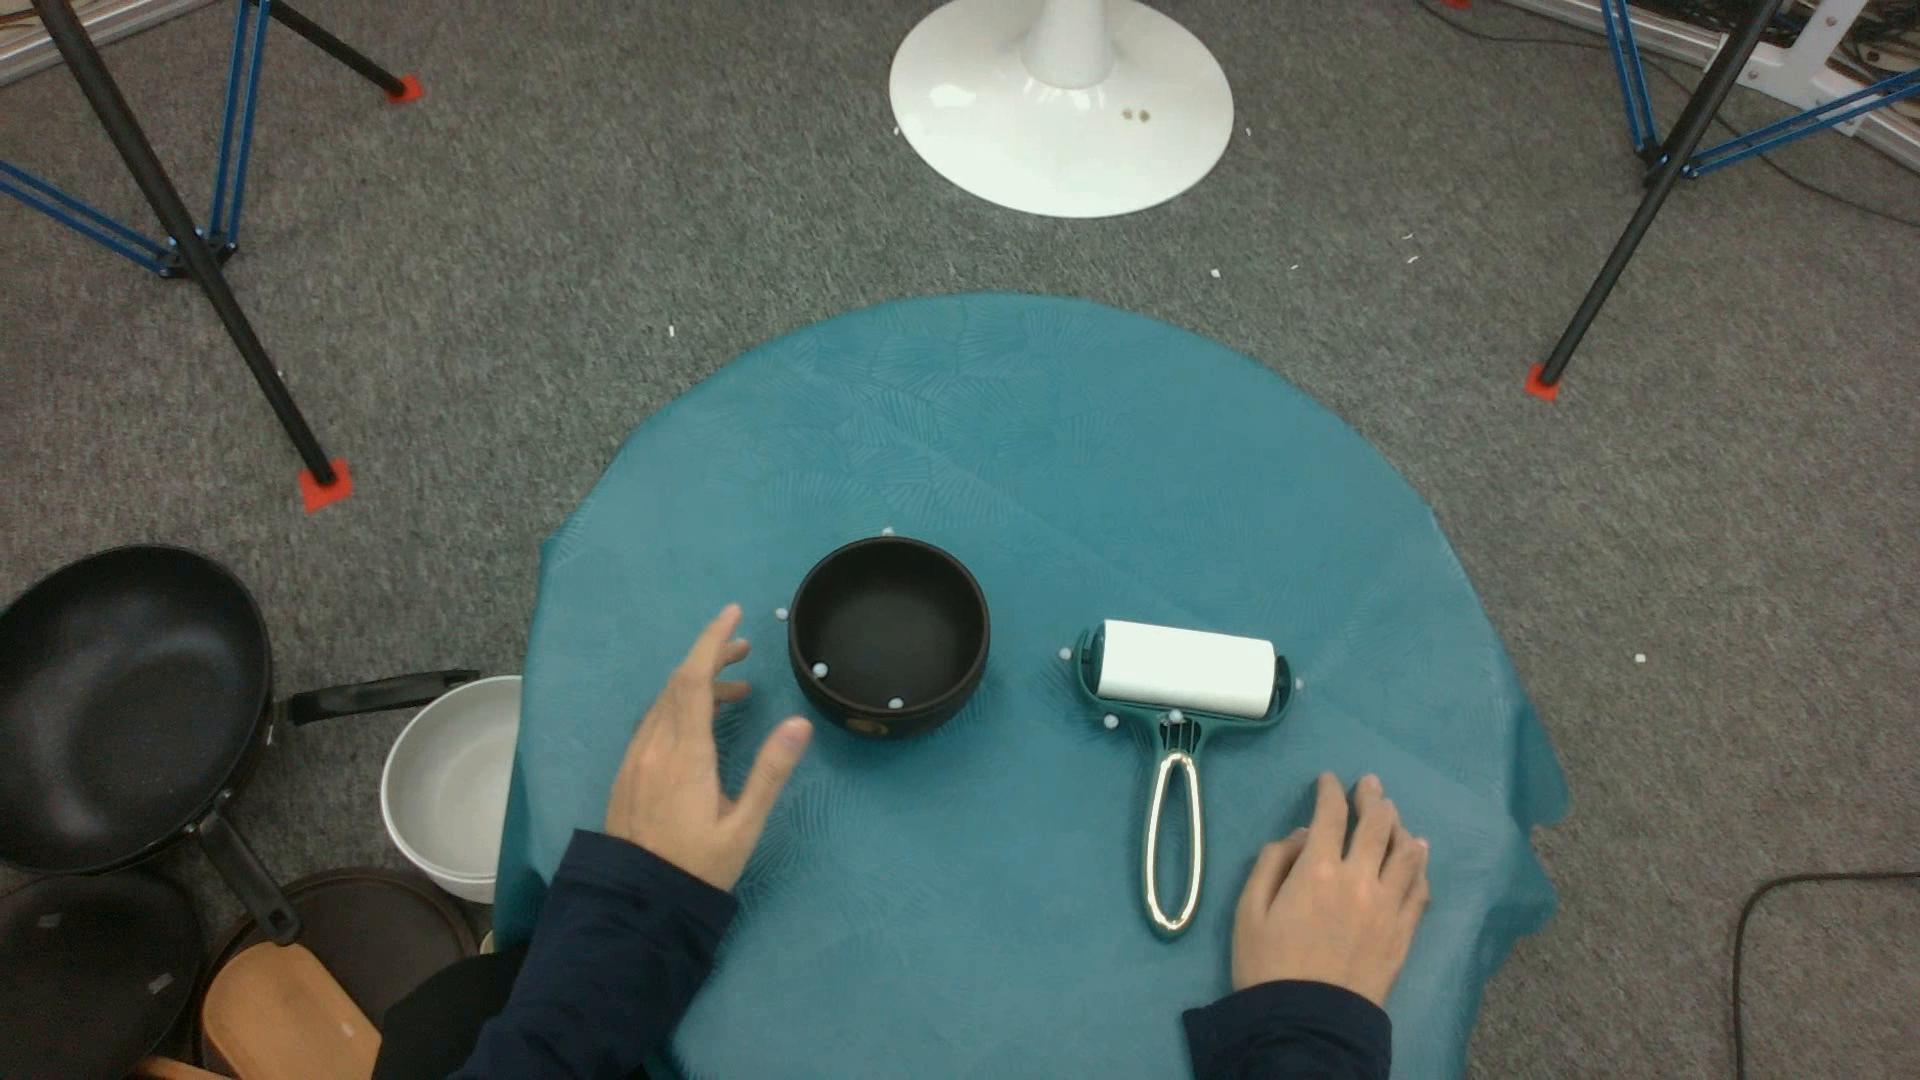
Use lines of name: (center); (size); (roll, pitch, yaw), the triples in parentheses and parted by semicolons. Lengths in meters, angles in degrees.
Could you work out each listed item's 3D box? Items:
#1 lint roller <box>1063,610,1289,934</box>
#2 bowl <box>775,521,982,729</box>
lint roller: (0.120, 0.129, 0.785); (0.134, 0.048, 0.181); (7, 60, 0)
bowl: (-0.048, 0.055, 0.797); (0.118, 0.069, 0.118); (3, 60, -5)
